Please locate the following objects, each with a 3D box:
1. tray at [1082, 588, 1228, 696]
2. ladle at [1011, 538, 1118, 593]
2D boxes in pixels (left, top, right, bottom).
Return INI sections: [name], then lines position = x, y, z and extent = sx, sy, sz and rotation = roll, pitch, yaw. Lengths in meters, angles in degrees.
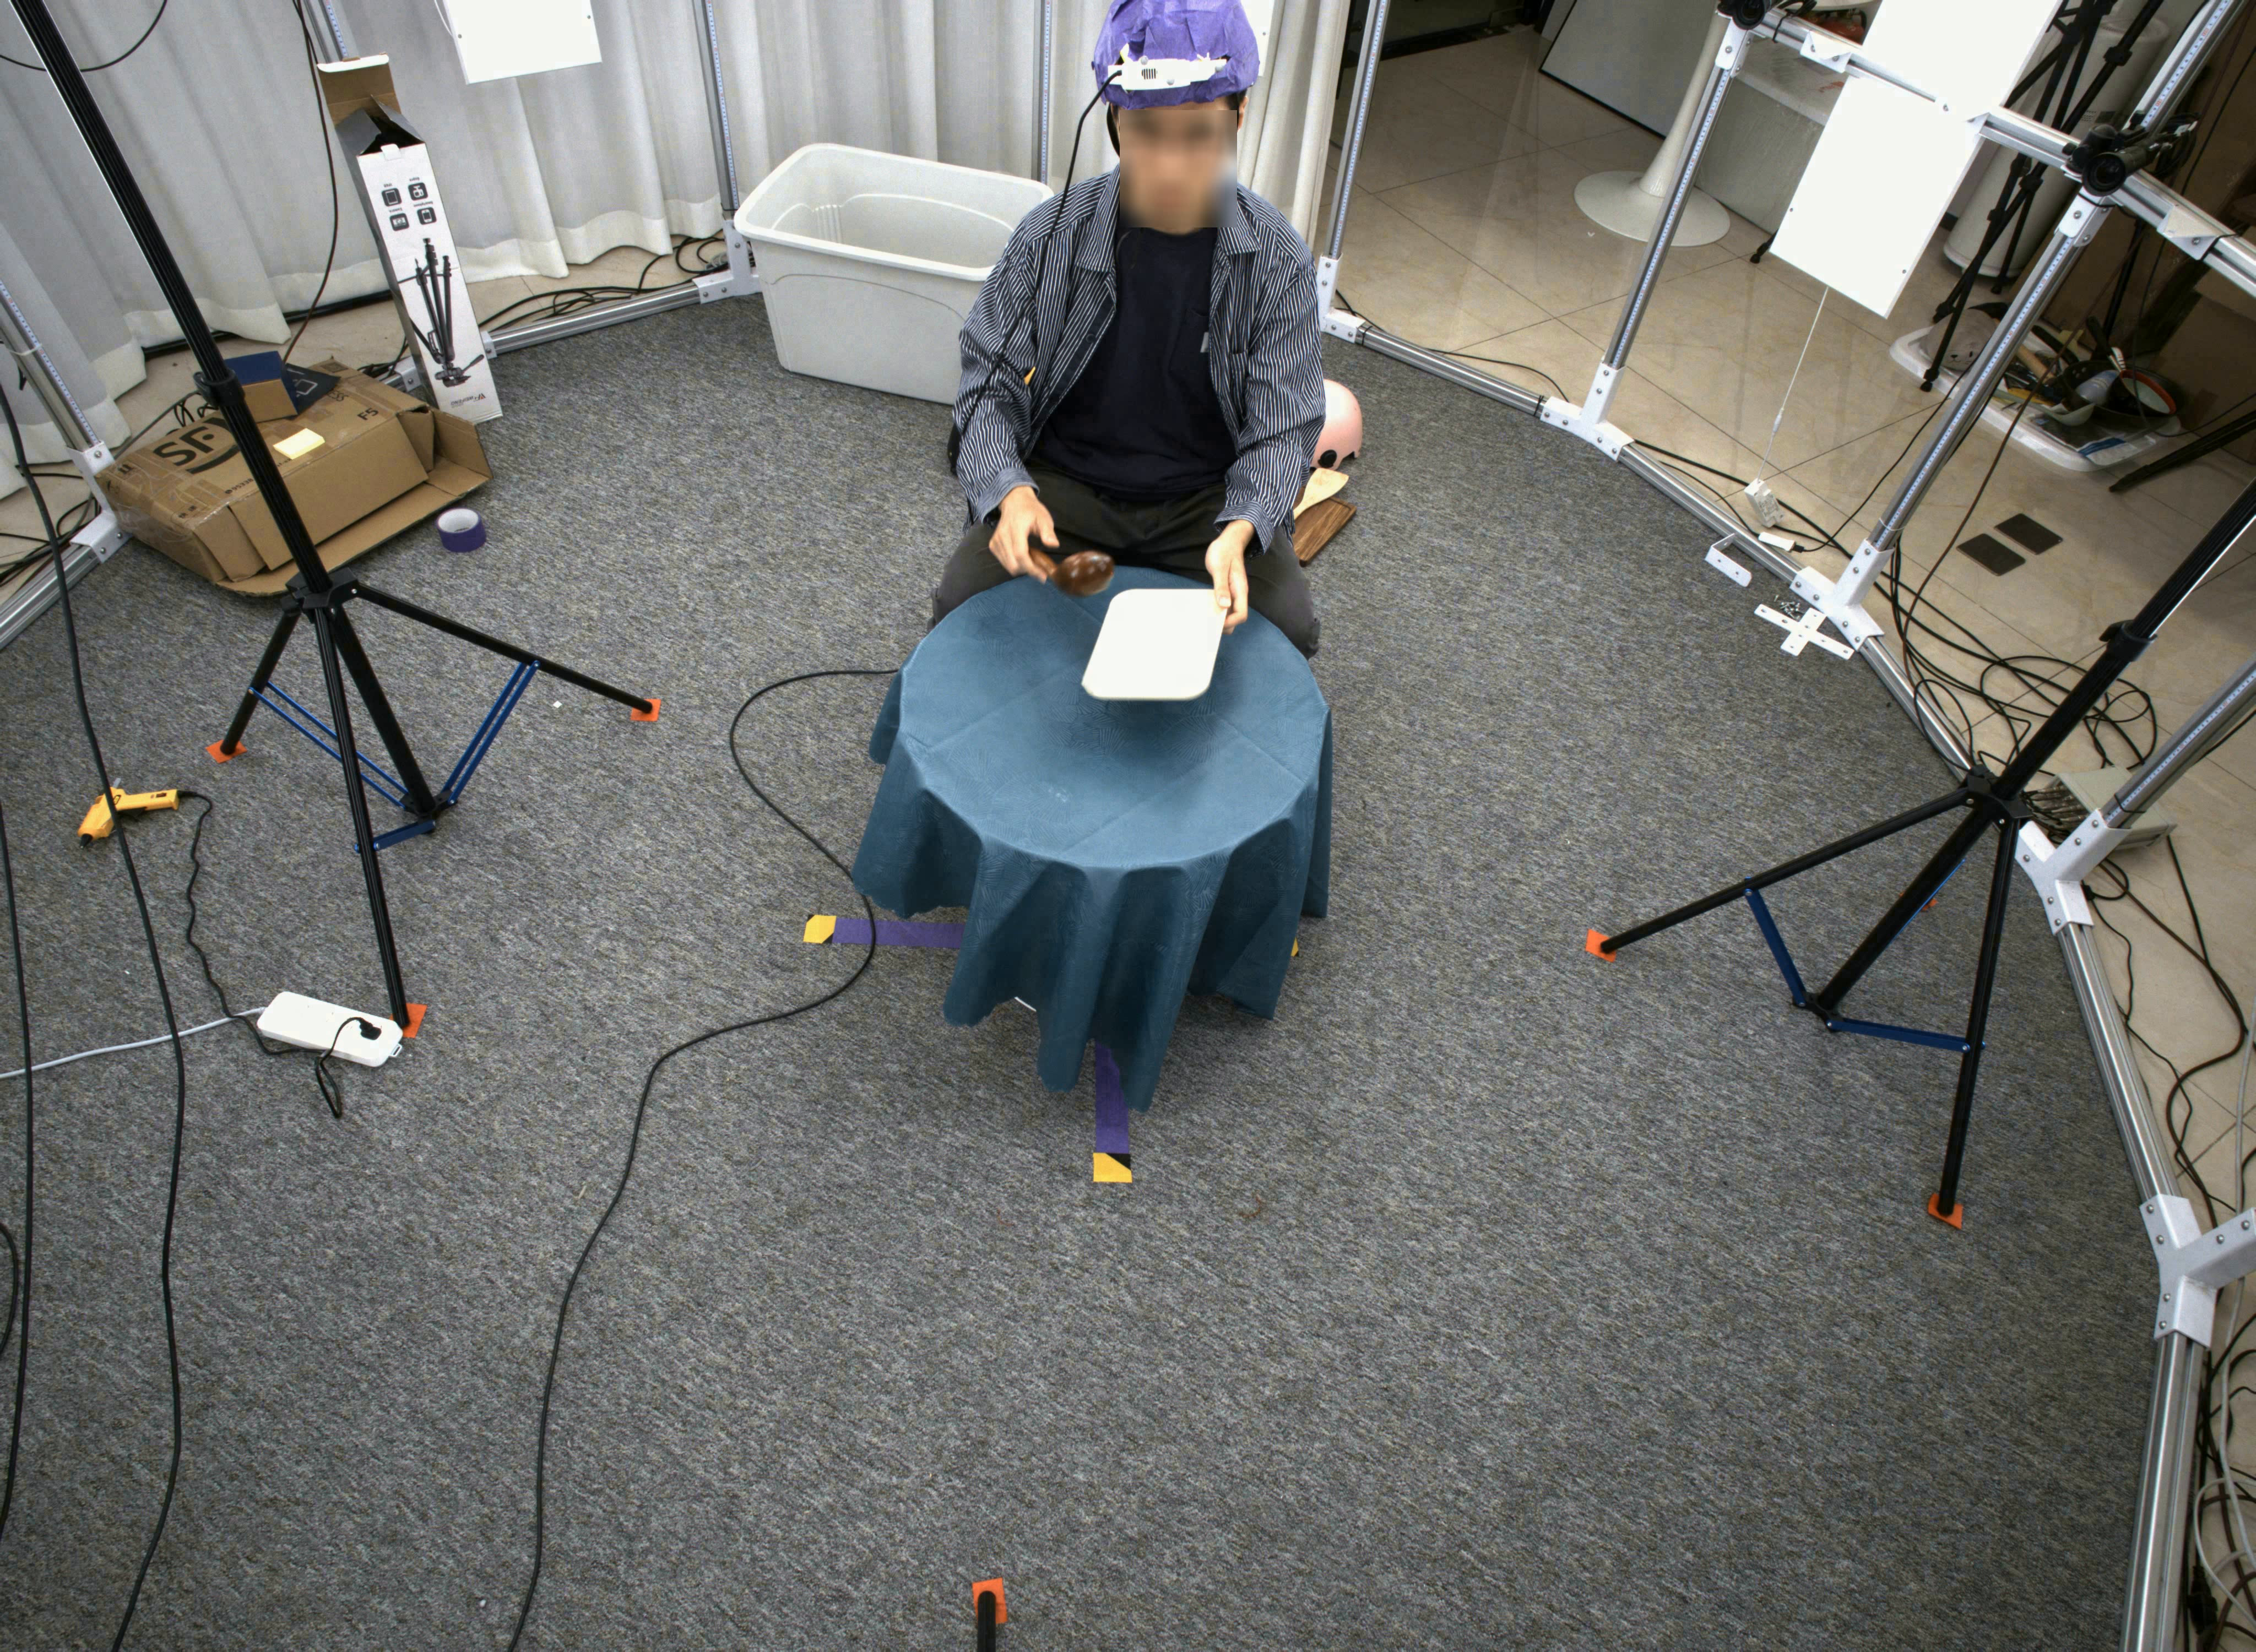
[tray]
position = 0.040, -0.252, 1.747
extent = 0.171, 0.017, 0.245
rotation = 3, 43, 14
[ladle]
position = -0.098, -0.378, 1.739
extent = 0.081, 0.075, 0.279
rotation = 5, 24, -29
